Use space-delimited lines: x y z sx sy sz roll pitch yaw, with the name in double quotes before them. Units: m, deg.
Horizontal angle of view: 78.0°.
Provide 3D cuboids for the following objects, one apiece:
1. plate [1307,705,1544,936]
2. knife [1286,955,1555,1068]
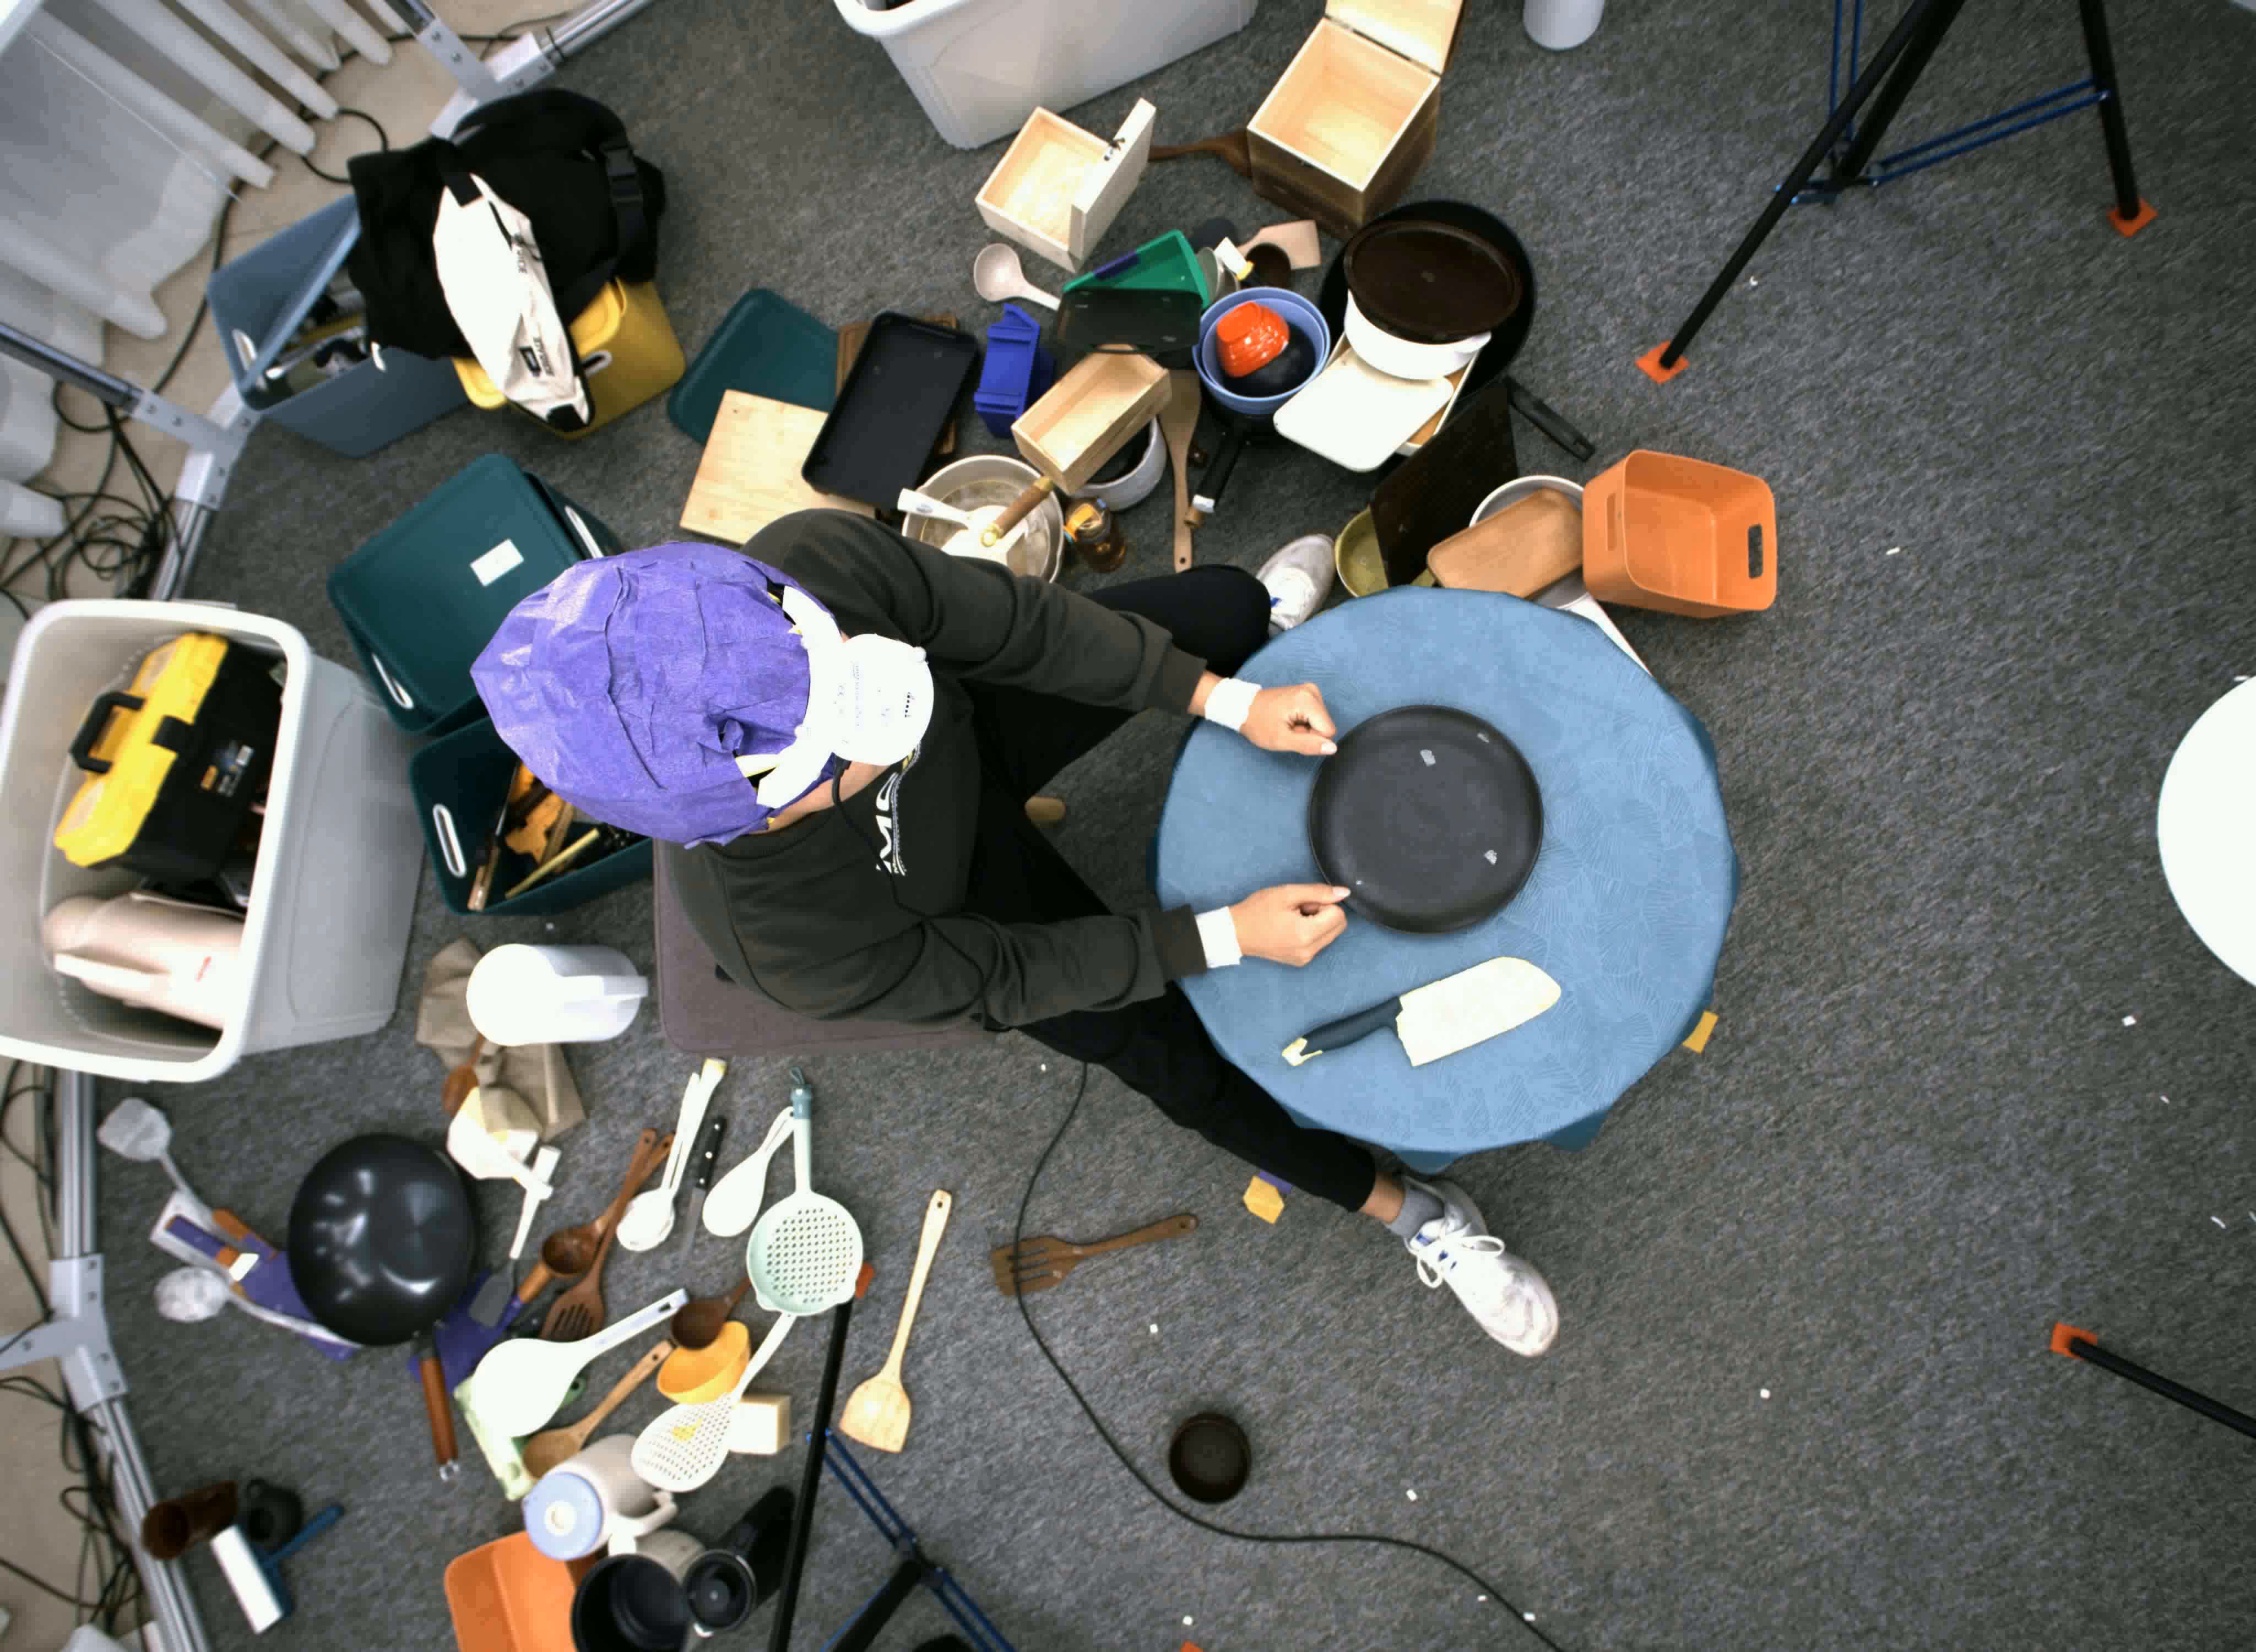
"plate" 0.311 -0.007 1.445 0.245 0.023 0.243 -1 87 11
"knife" 0.305 0.204 1.439 0.291 0.027 0.080 -20 82 8
